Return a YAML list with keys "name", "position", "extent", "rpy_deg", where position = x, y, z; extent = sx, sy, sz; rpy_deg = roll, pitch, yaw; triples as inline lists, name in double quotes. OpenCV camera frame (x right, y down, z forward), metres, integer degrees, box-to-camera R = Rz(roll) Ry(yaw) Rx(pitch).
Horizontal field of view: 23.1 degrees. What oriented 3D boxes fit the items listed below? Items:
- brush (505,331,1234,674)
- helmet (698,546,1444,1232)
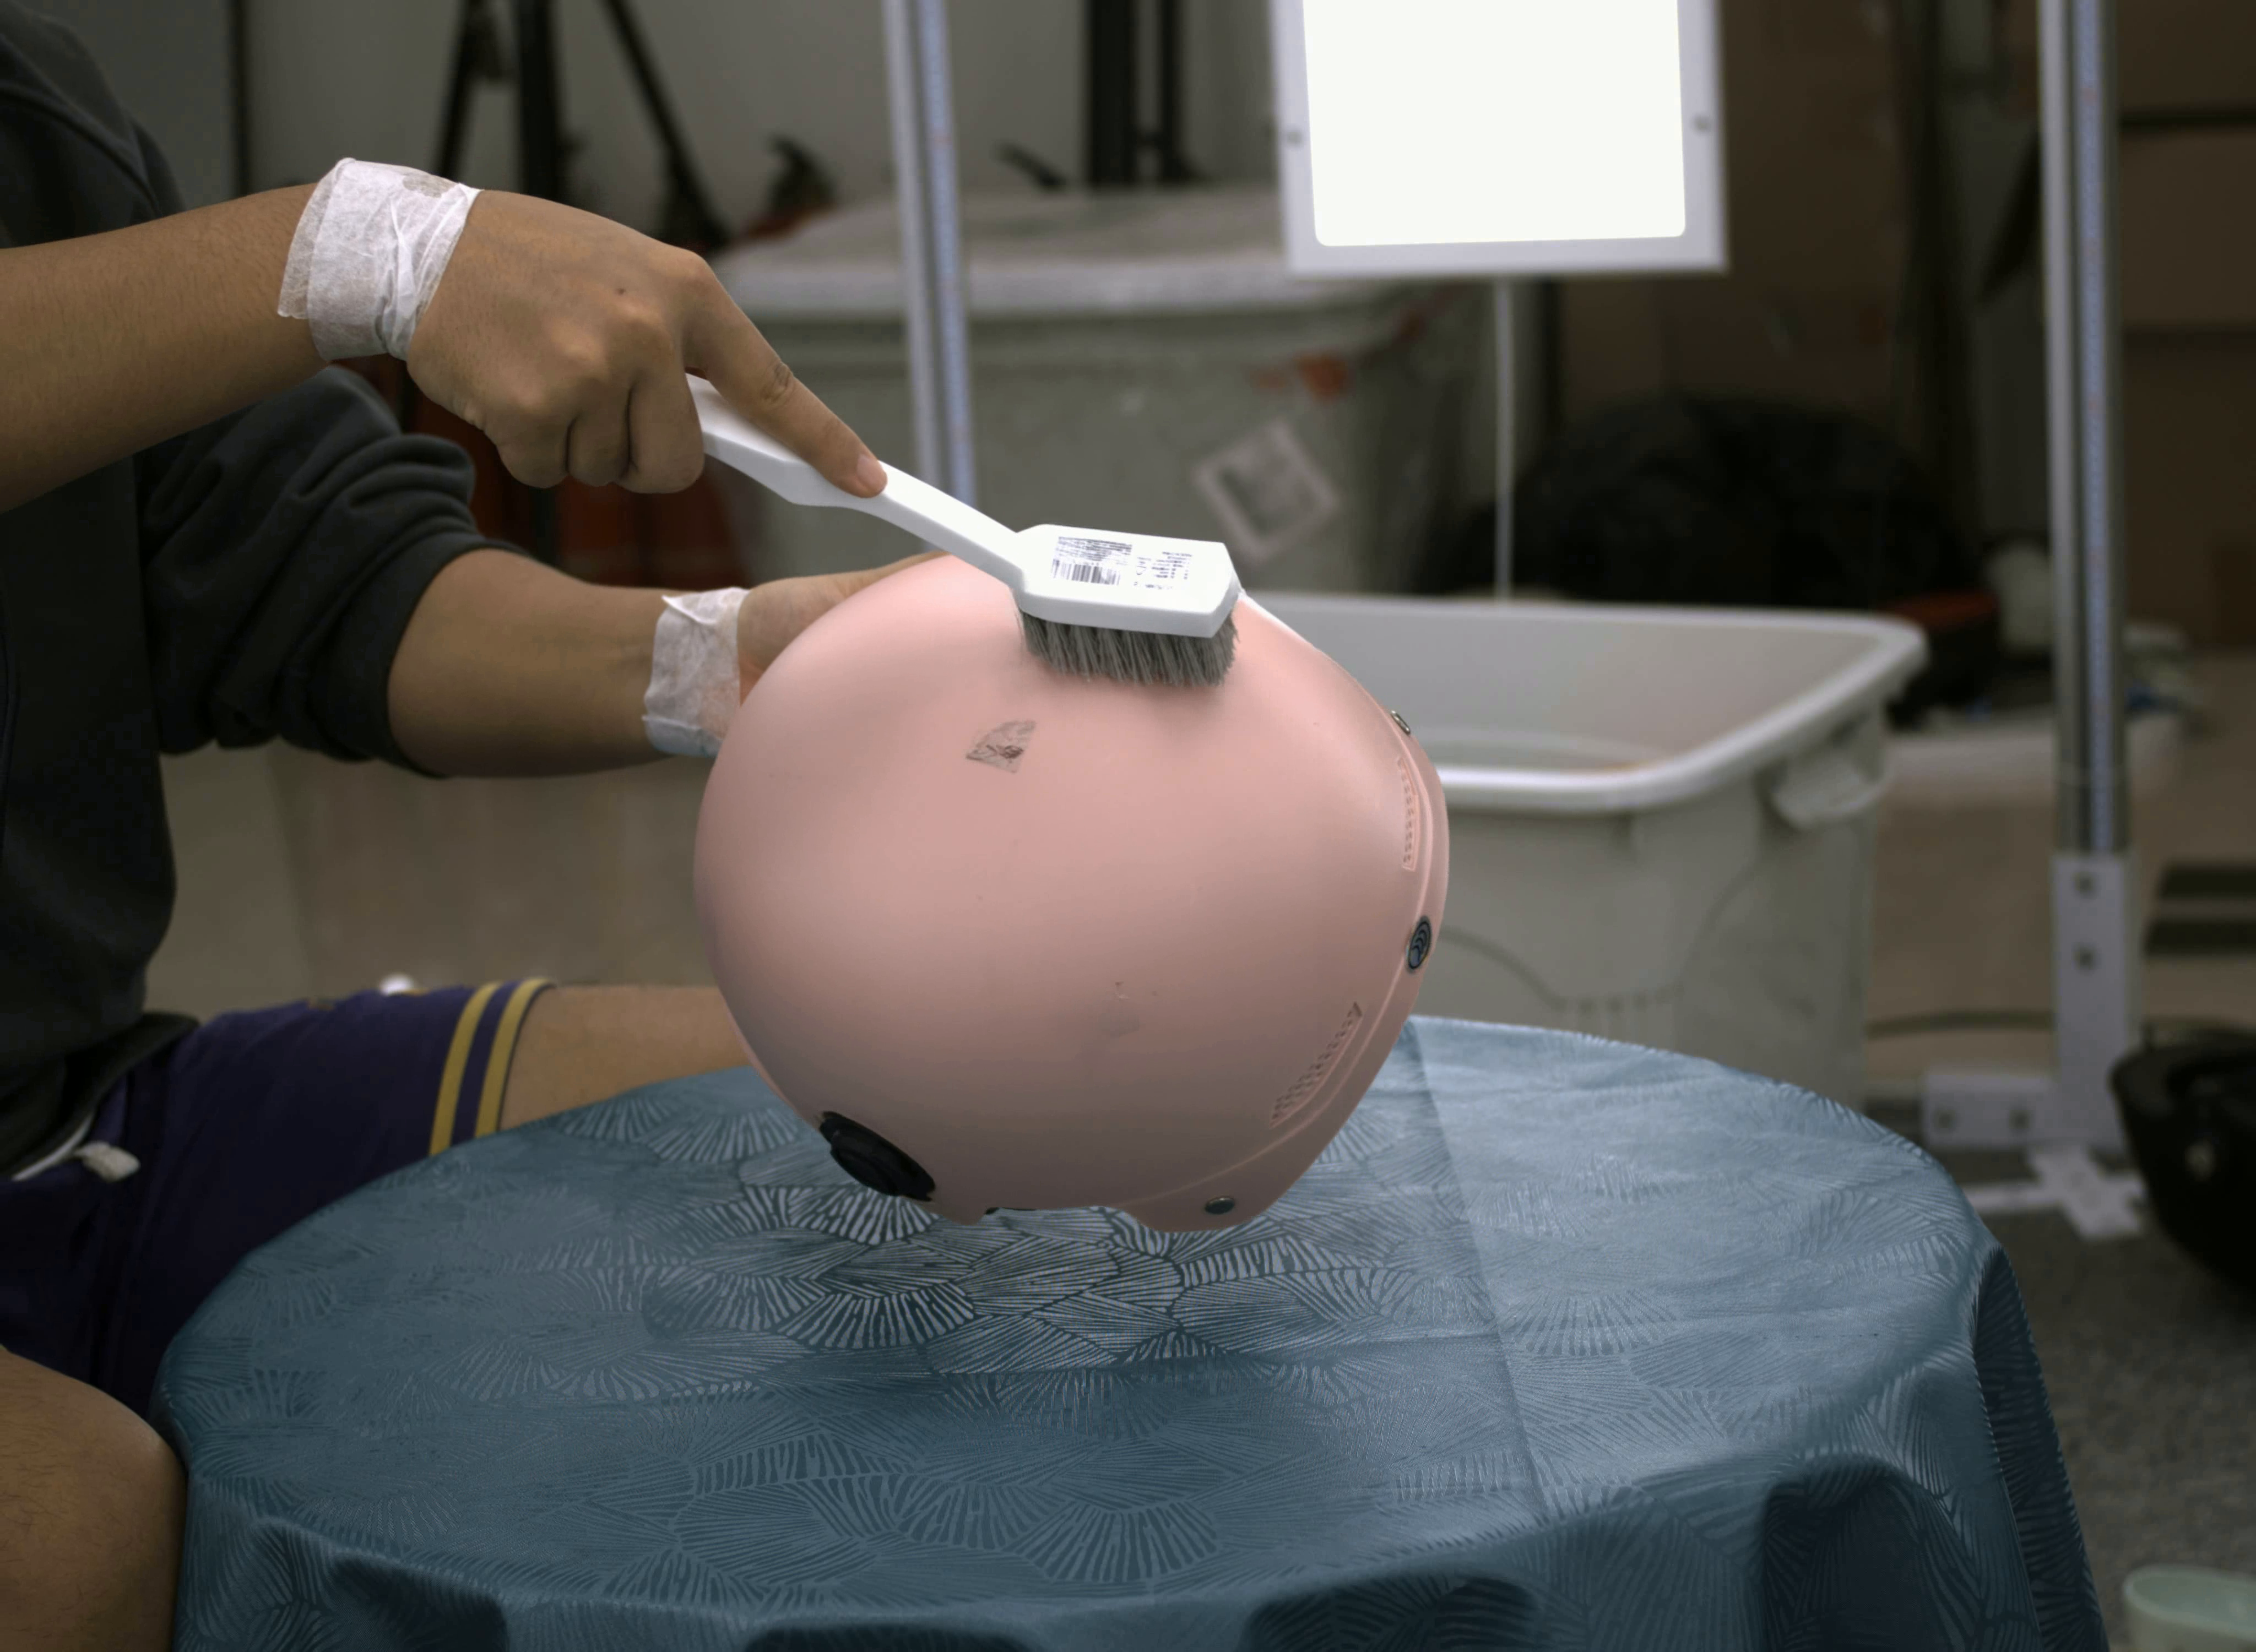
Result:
- name: "brush"
  position: [-0.079, -0.097, 1.698]
  extent: [0.242, 0.051, 0.034]
  rpy_deg: [17, 45, -7]
- name: "helmet"
  position: [-0.038, 0.003, 1.791]
  extent: [0.270, 0.233, 0.157]
  rpy_deg: [11, -17, 29]
